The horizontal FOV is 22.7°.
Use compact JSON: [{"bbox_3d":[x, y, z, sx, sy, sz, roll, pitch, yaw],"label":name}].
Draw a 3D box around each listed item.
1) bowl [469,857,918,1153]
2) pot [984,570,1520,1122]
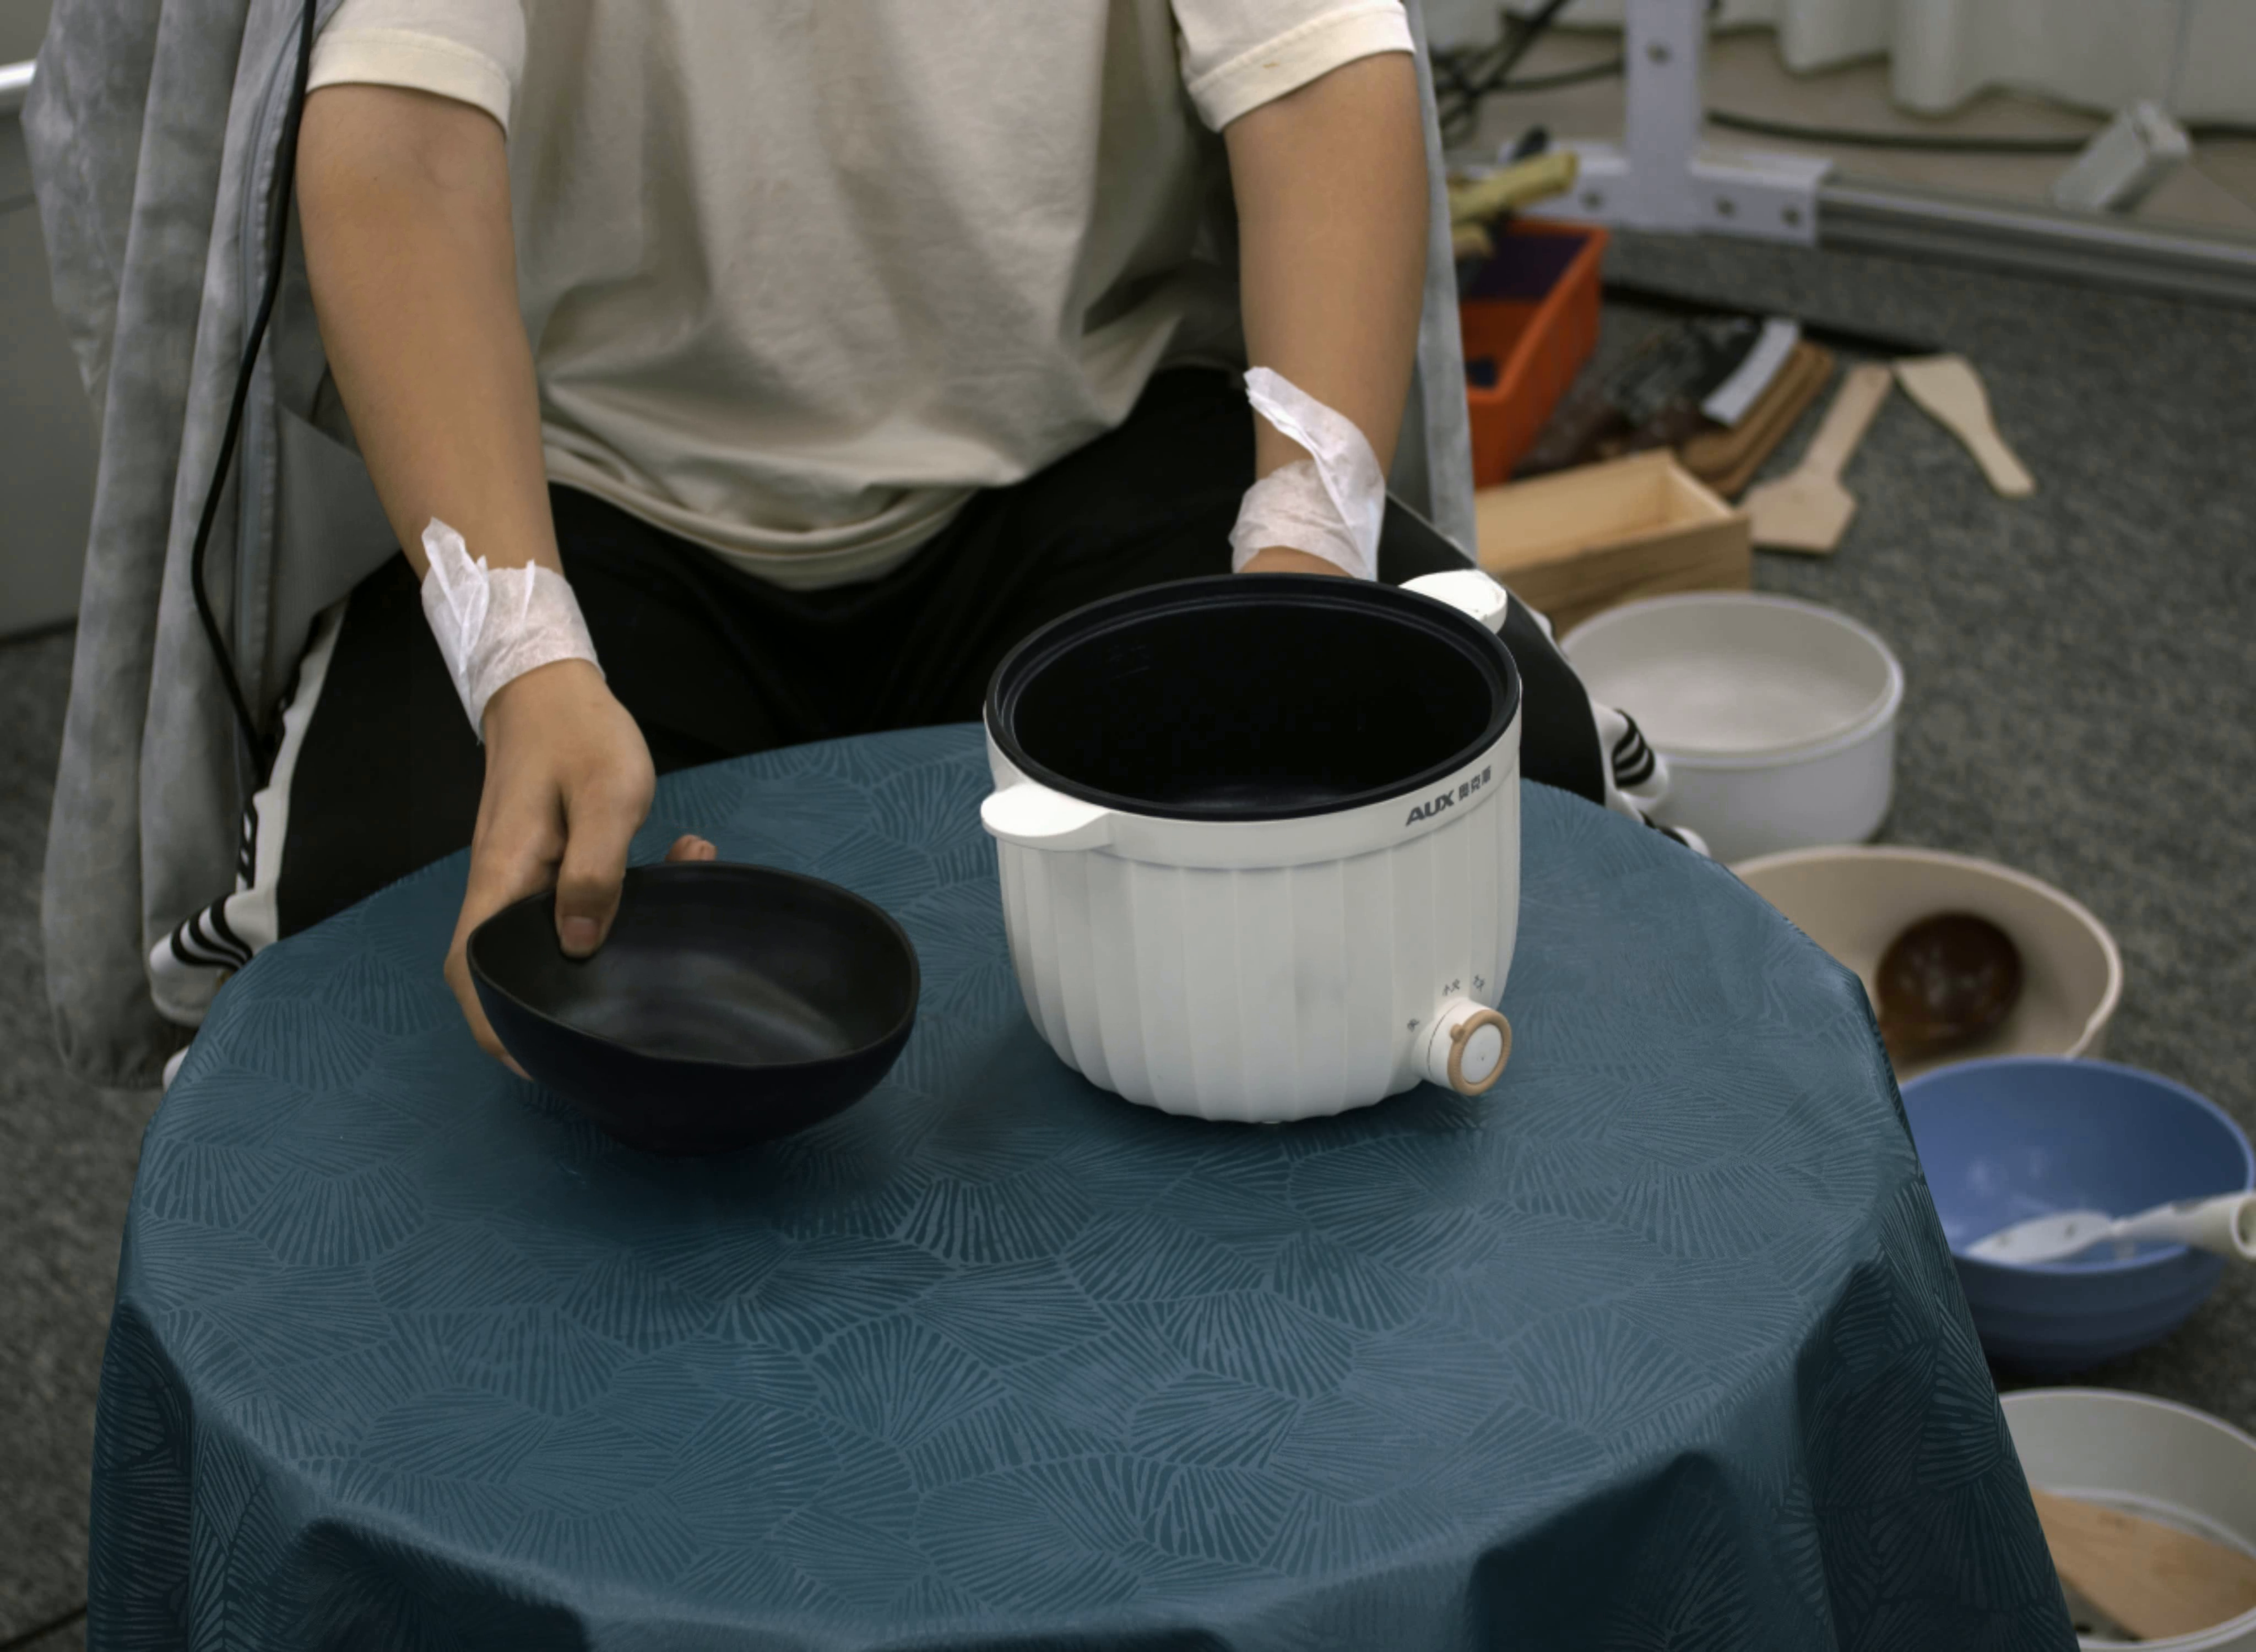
[{"bbox_3d":[-0.147,0.068,1.887,0.170,0.066,0.139,20,31,36],"label":"bowl"},{"bbox_3d":[0.050,0.012,1.918,0.190,0.141,0.243,17,34,41],"label":"pot"}]
